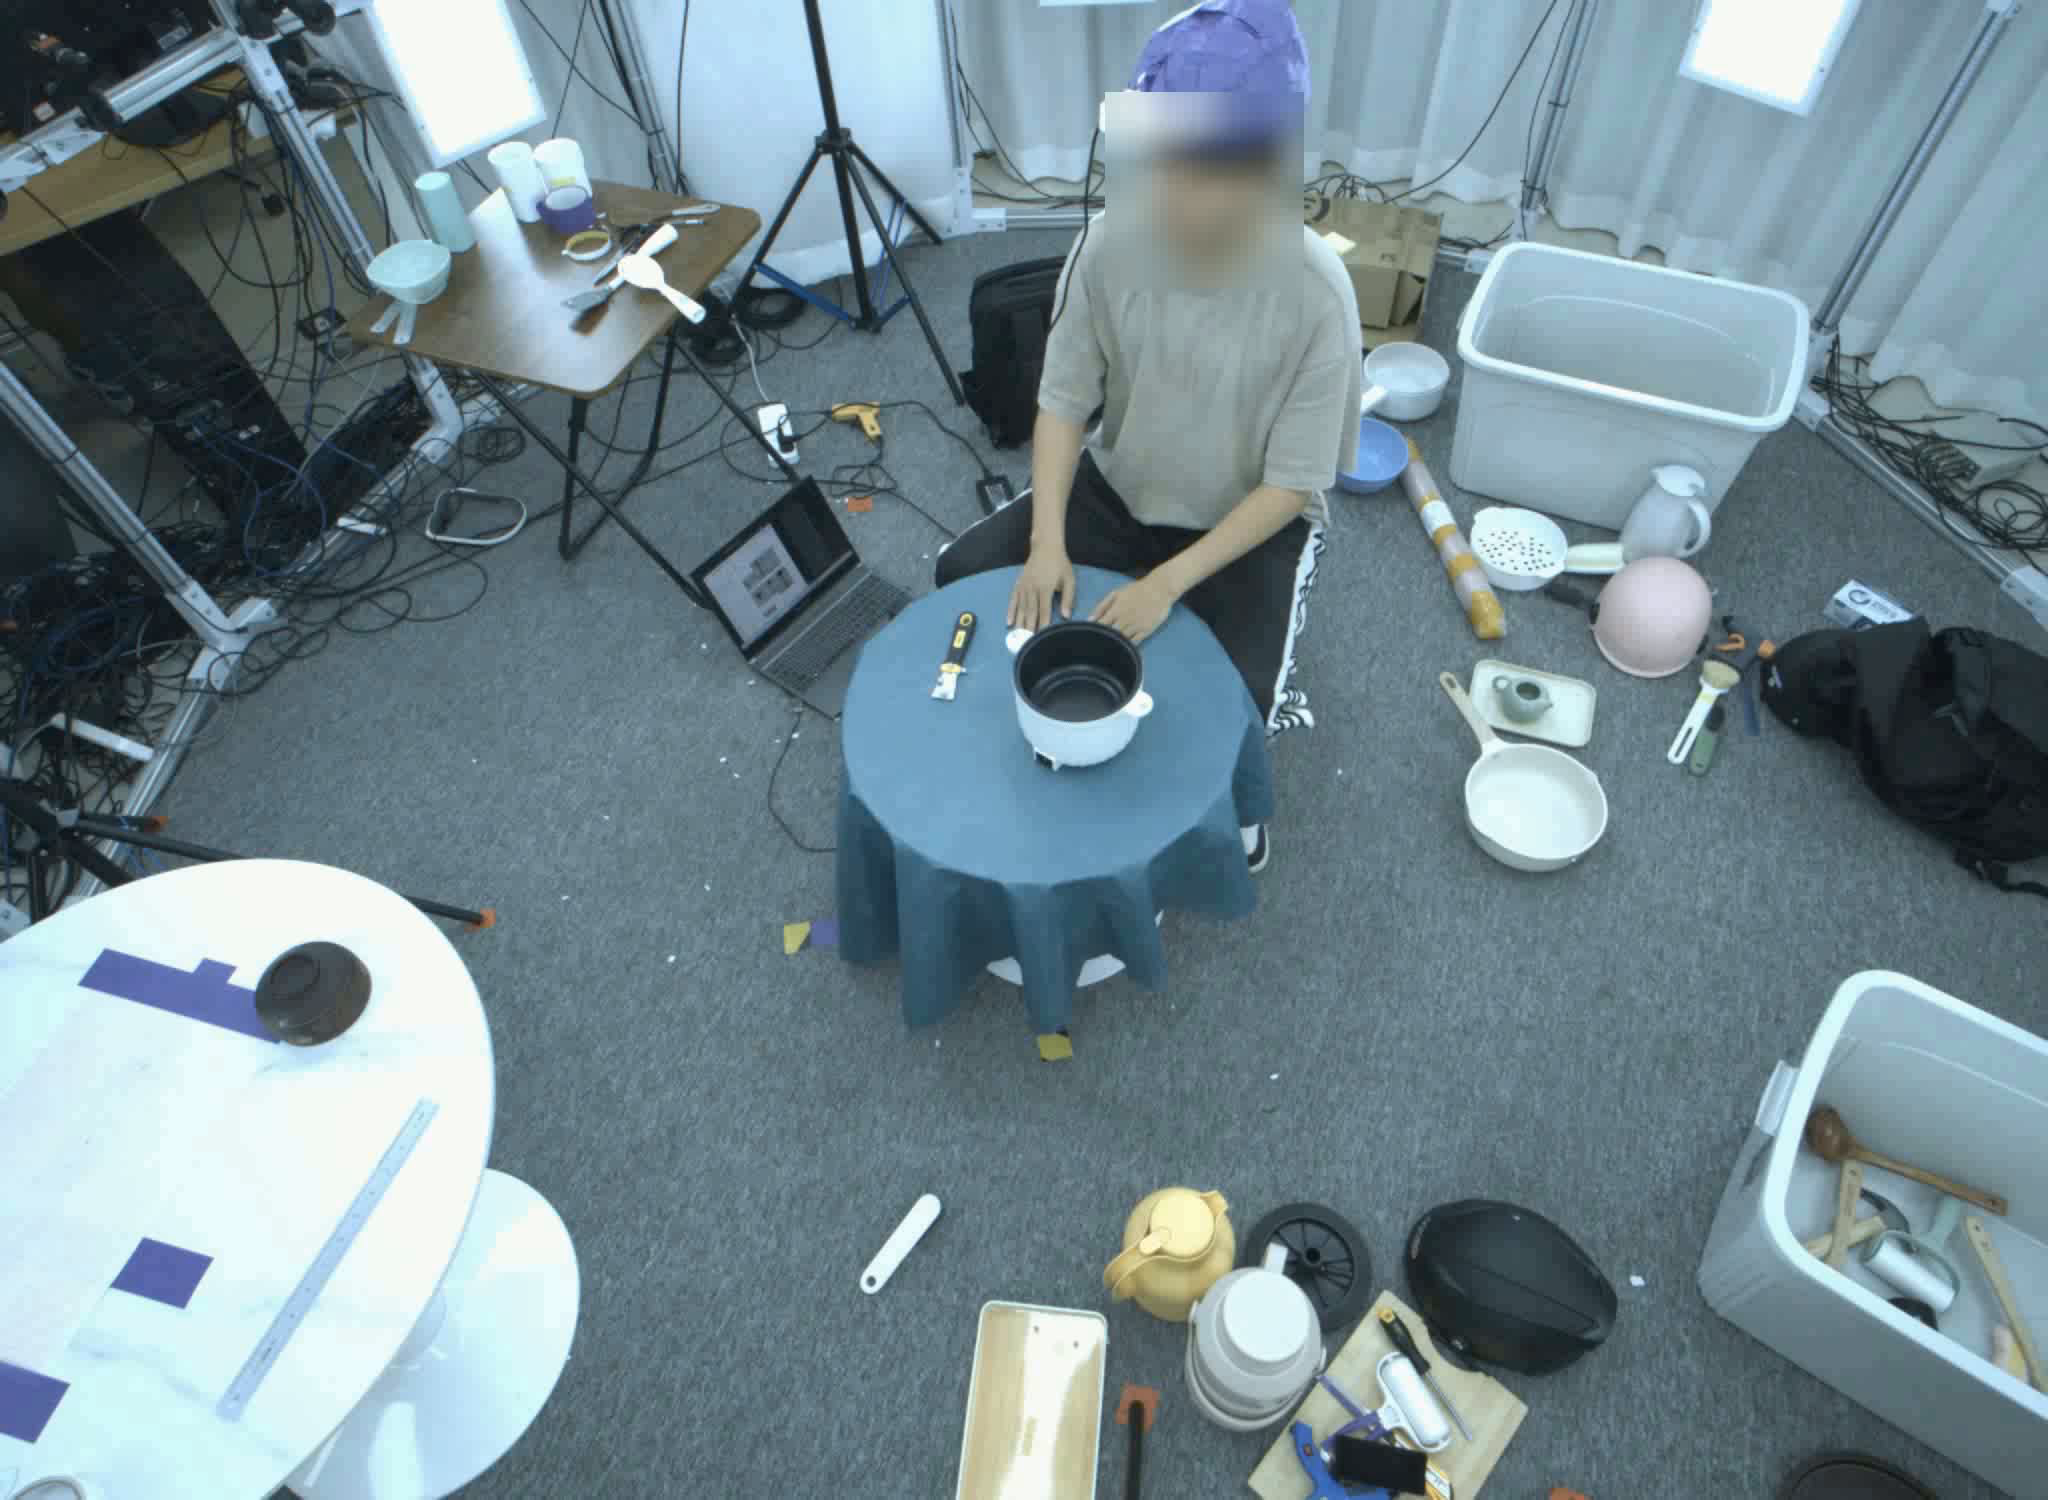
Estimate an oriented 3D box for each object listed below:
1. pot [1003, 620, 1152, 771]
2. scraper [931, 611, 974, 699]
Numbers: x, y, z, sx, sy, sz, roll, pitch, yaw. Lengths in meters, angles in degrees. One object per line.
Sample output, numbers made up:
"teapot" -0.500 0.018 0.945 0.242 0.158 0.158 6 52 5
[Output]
"pot" 0.079 -0.078 1.752 0.237 0.144 0.191 30 65 20
"scraper" -0.107 -0.147 1.883 0.038 0.015 0.170 4 57 13
